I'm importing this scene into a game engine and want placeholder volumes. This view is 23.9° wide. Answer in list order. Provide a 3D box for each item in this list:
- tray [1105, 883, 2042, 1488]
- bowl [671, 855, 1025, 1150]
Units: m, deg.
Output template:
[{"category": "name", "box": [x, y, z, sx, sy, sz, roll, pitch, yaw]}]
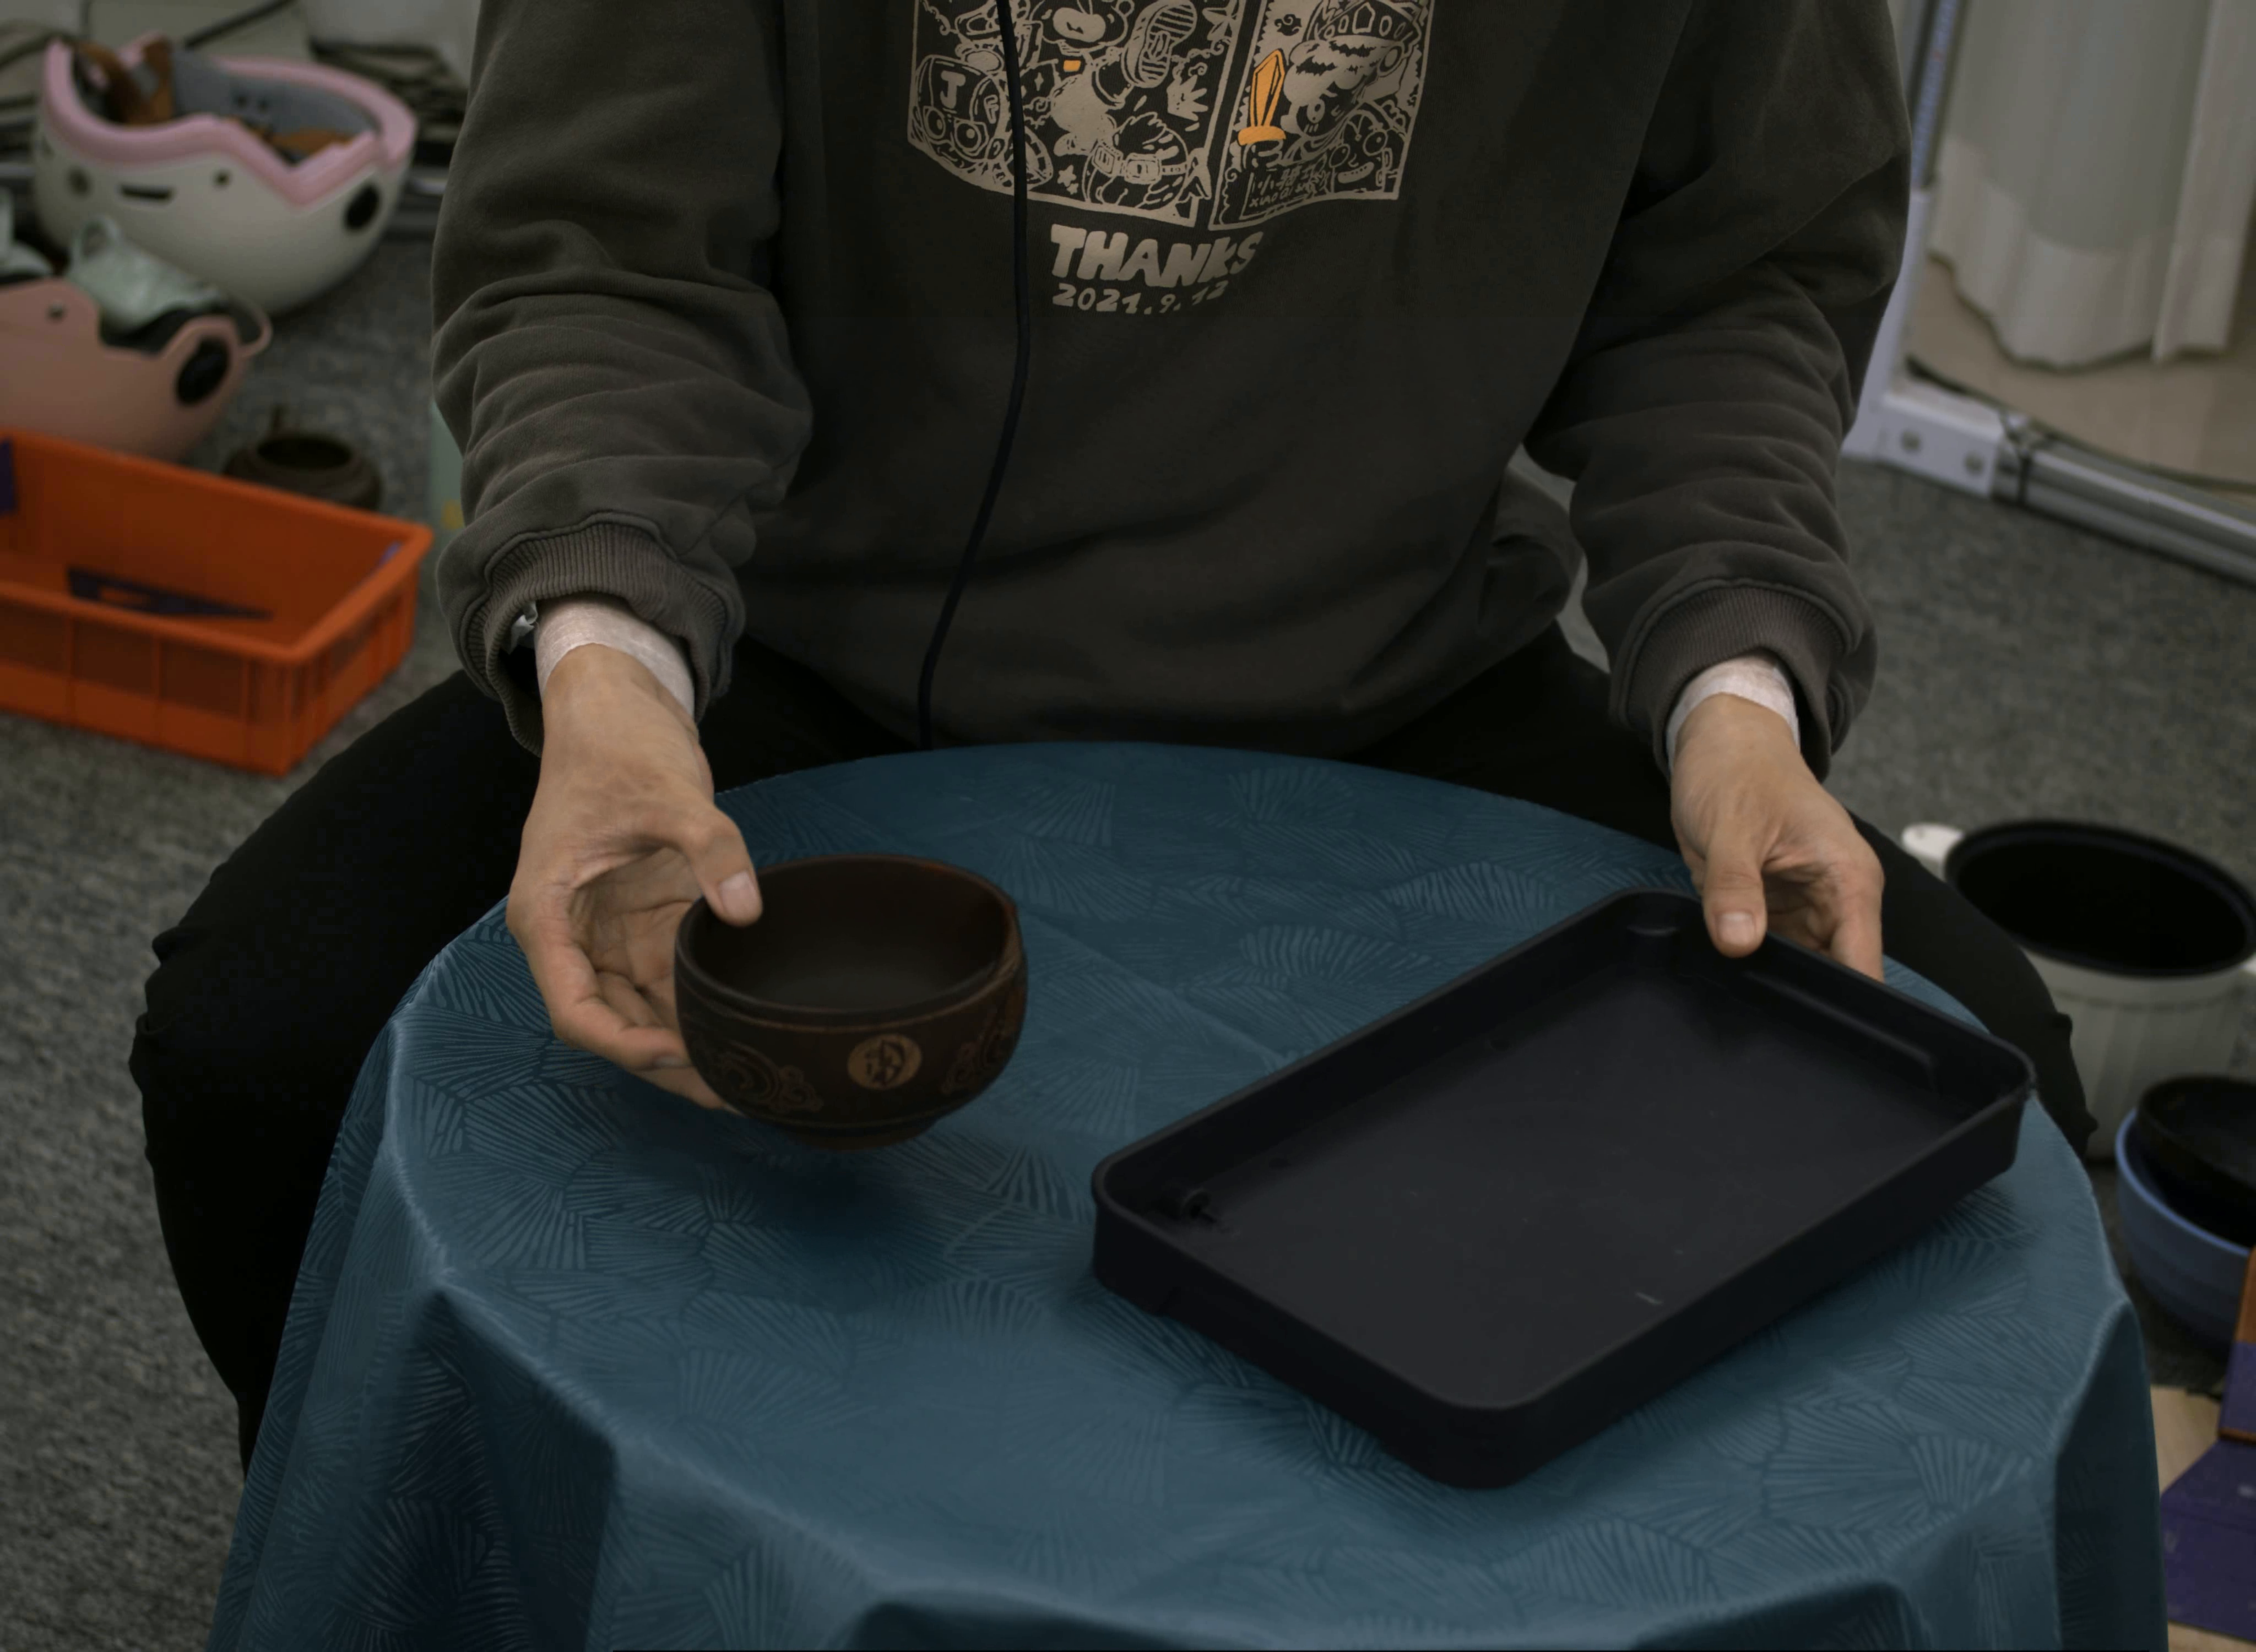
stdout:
[{"category": "tray", "box": [0.154, 0.114, 1.803, 0.185, 0.037, 0.317, 25, 35, 34]}, {"category": "bowl", "box": [-0.092, 0.064, 1.766, 0.118, 0.069, 0.118, -2, 24, 0]}]
